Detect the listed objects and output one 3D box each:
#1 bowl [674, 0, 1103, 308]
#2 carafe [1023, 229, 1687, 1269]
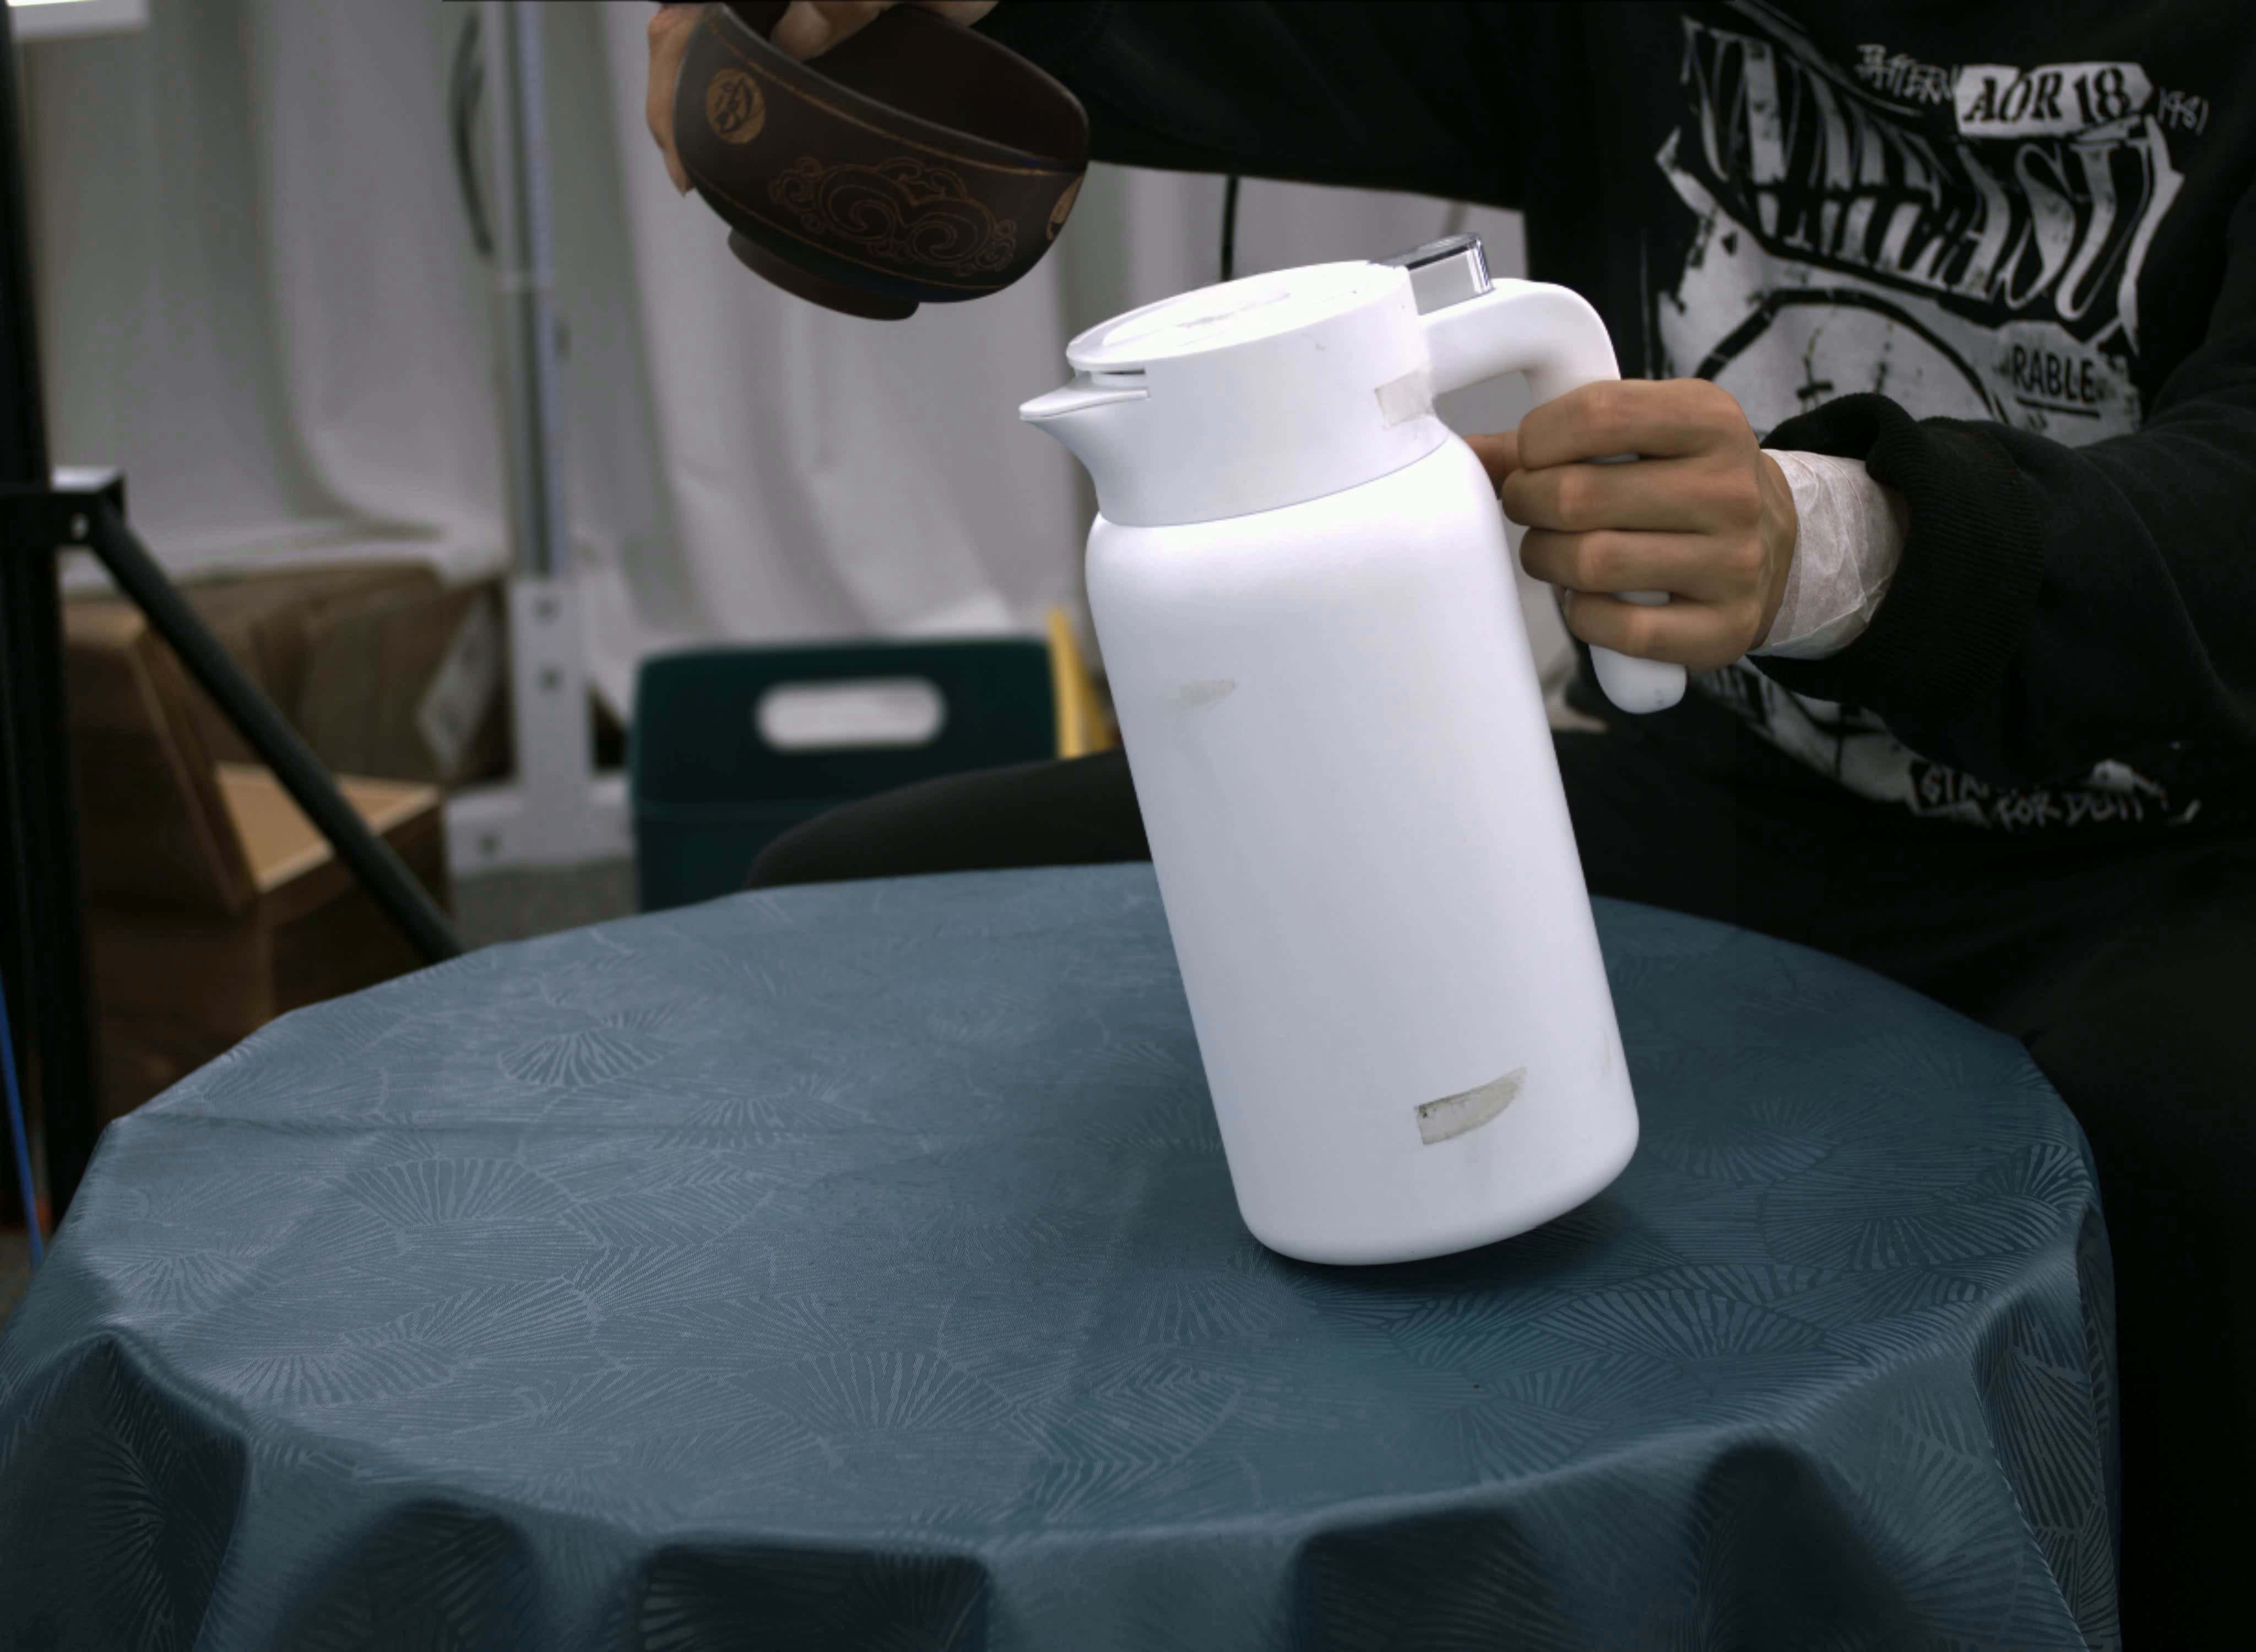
[{"bbox_3d":[-0.072,-0.188,1.493,0.117,0.070,0.119,19,21,-9],"label":"bowl"},{"bbox_3d":[0.076,-0.024,1.485,0.170,0.268,0.126,-19,12,-19],"label":"carafe"}]
